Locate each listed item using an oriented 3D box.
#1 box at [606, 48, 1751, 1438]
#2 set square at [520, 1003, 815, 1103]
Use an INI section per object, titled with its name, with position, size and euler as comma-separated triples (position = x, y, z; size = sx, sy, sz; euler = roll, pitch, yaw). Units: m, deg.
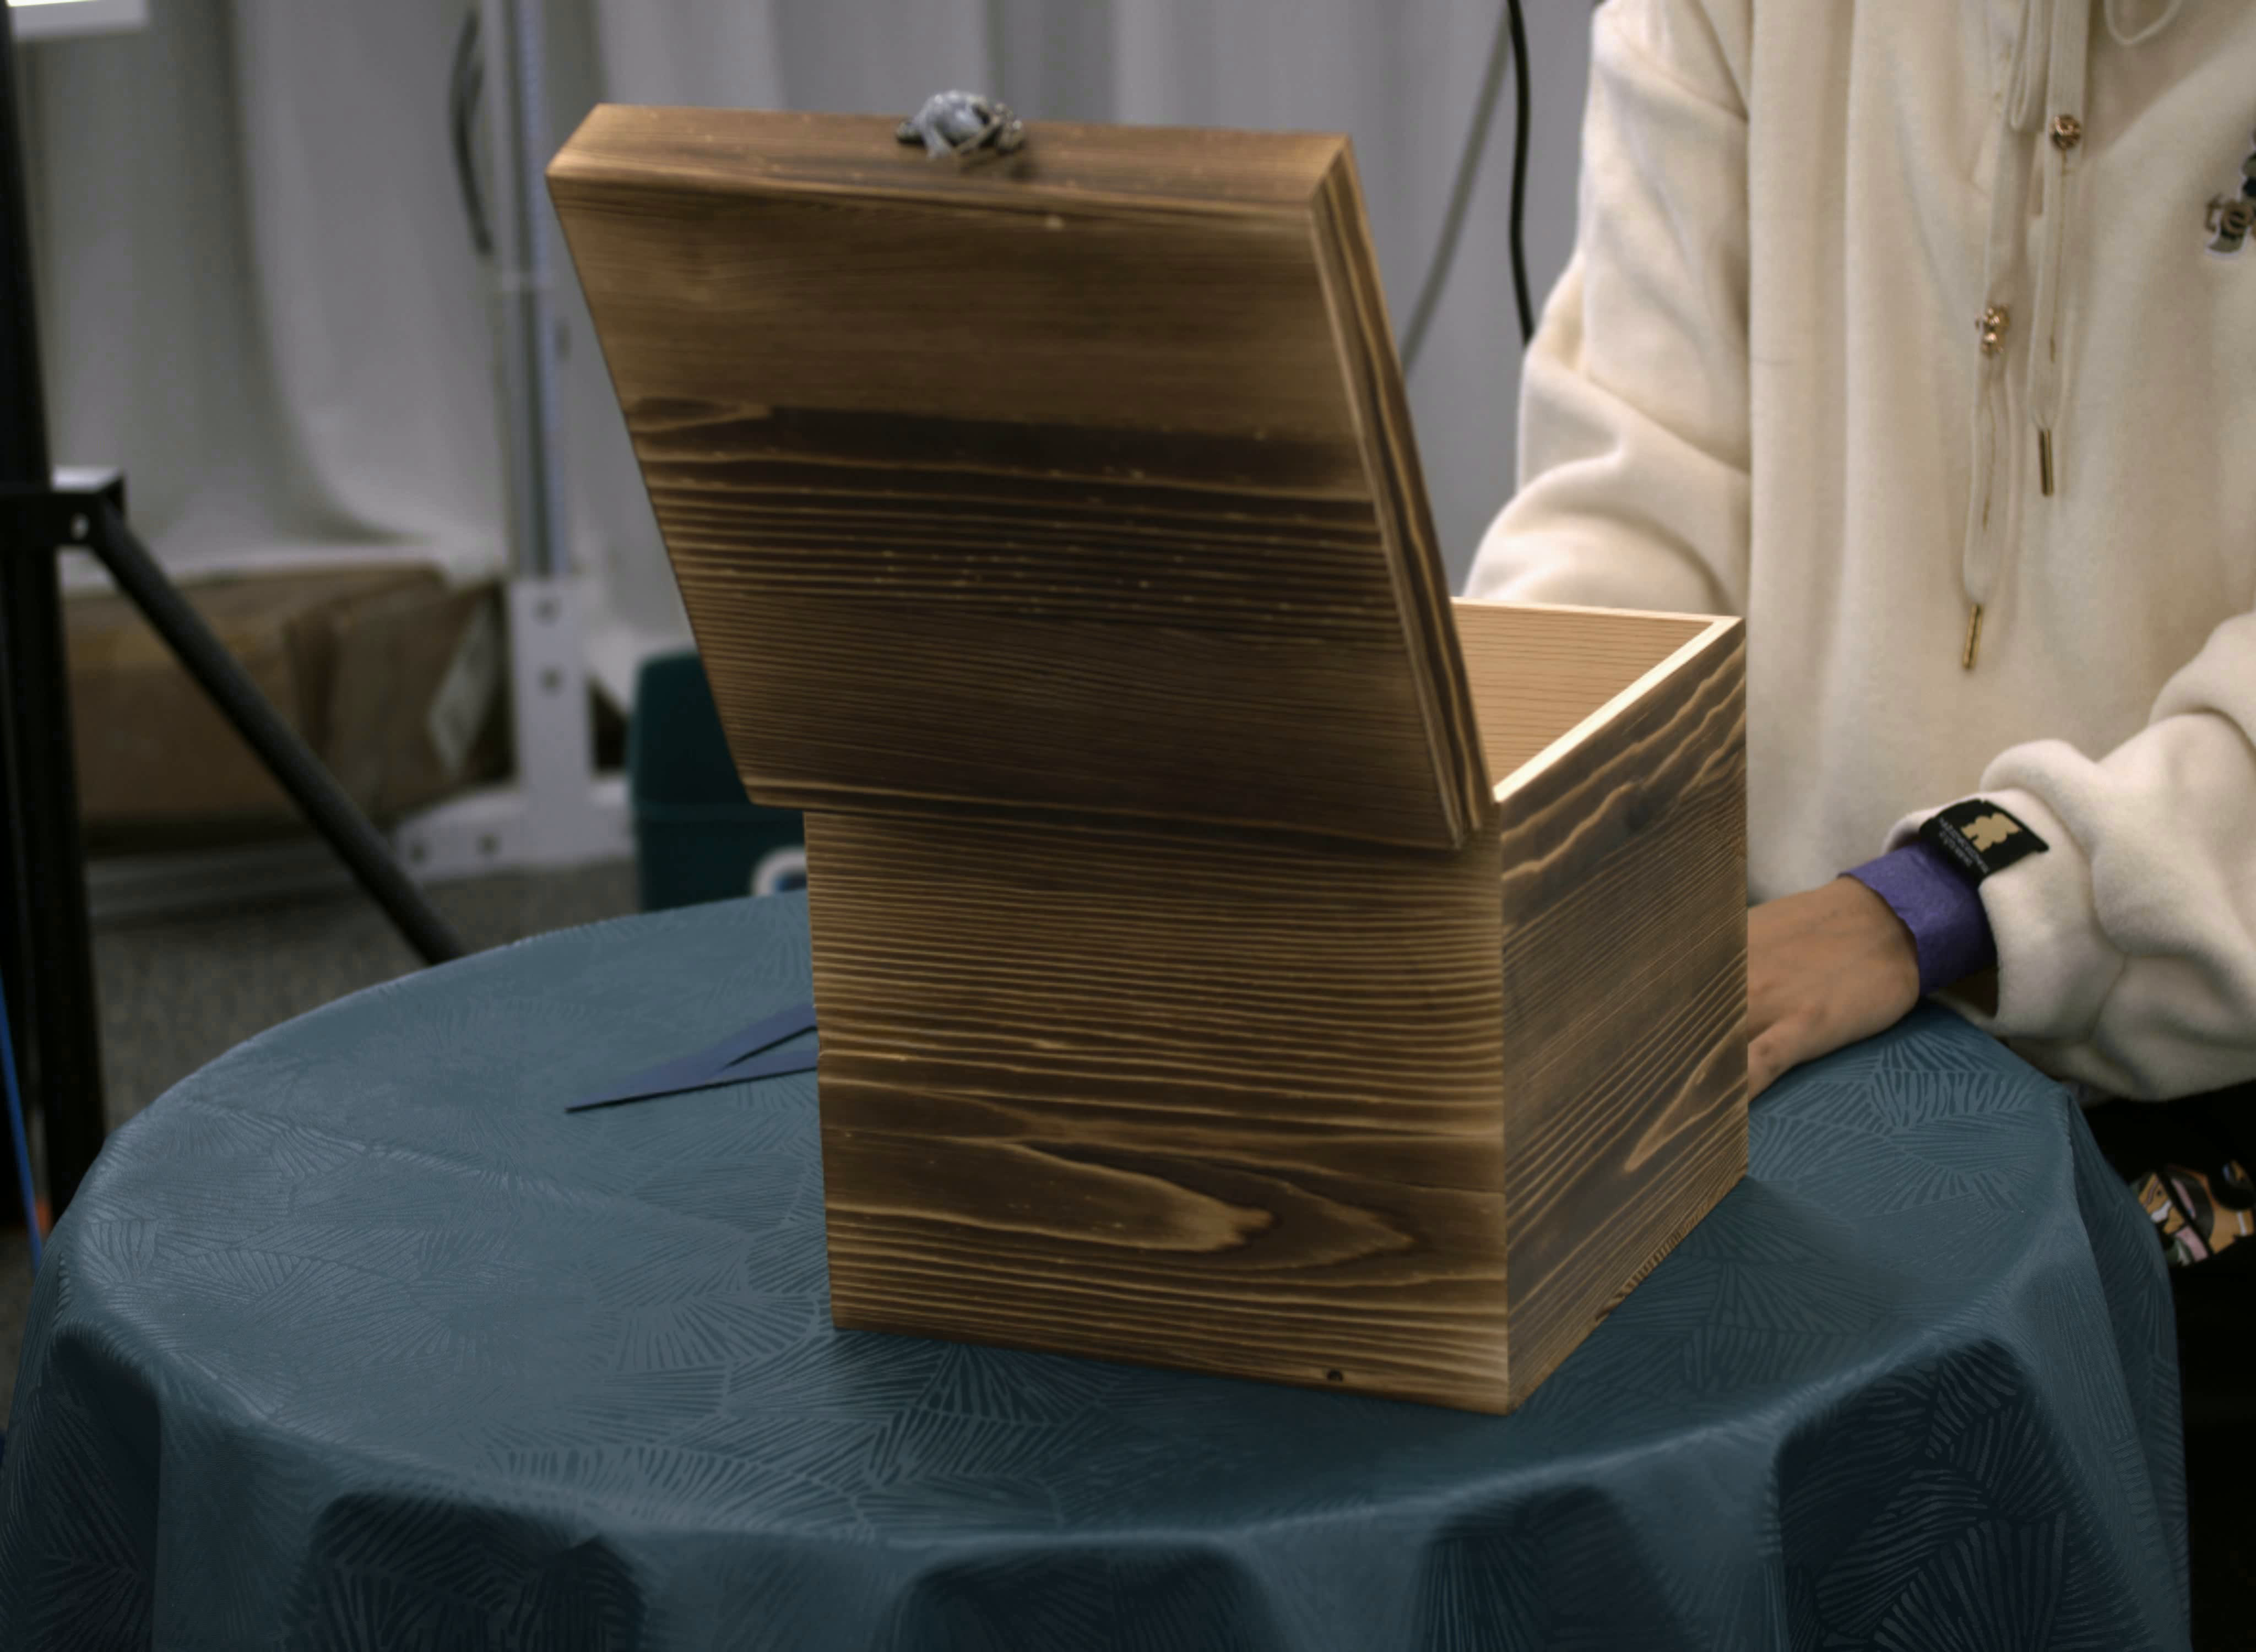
[box]
position = 0.025, -0.037, 1.413
size = 0.212, 0.375, 0.317
euler = 6, 18, 24
[set square]
position = -0.135, 0.070, 1.706
size = 0.130, 0.006, 0.062
euler = -7, 19, -18
